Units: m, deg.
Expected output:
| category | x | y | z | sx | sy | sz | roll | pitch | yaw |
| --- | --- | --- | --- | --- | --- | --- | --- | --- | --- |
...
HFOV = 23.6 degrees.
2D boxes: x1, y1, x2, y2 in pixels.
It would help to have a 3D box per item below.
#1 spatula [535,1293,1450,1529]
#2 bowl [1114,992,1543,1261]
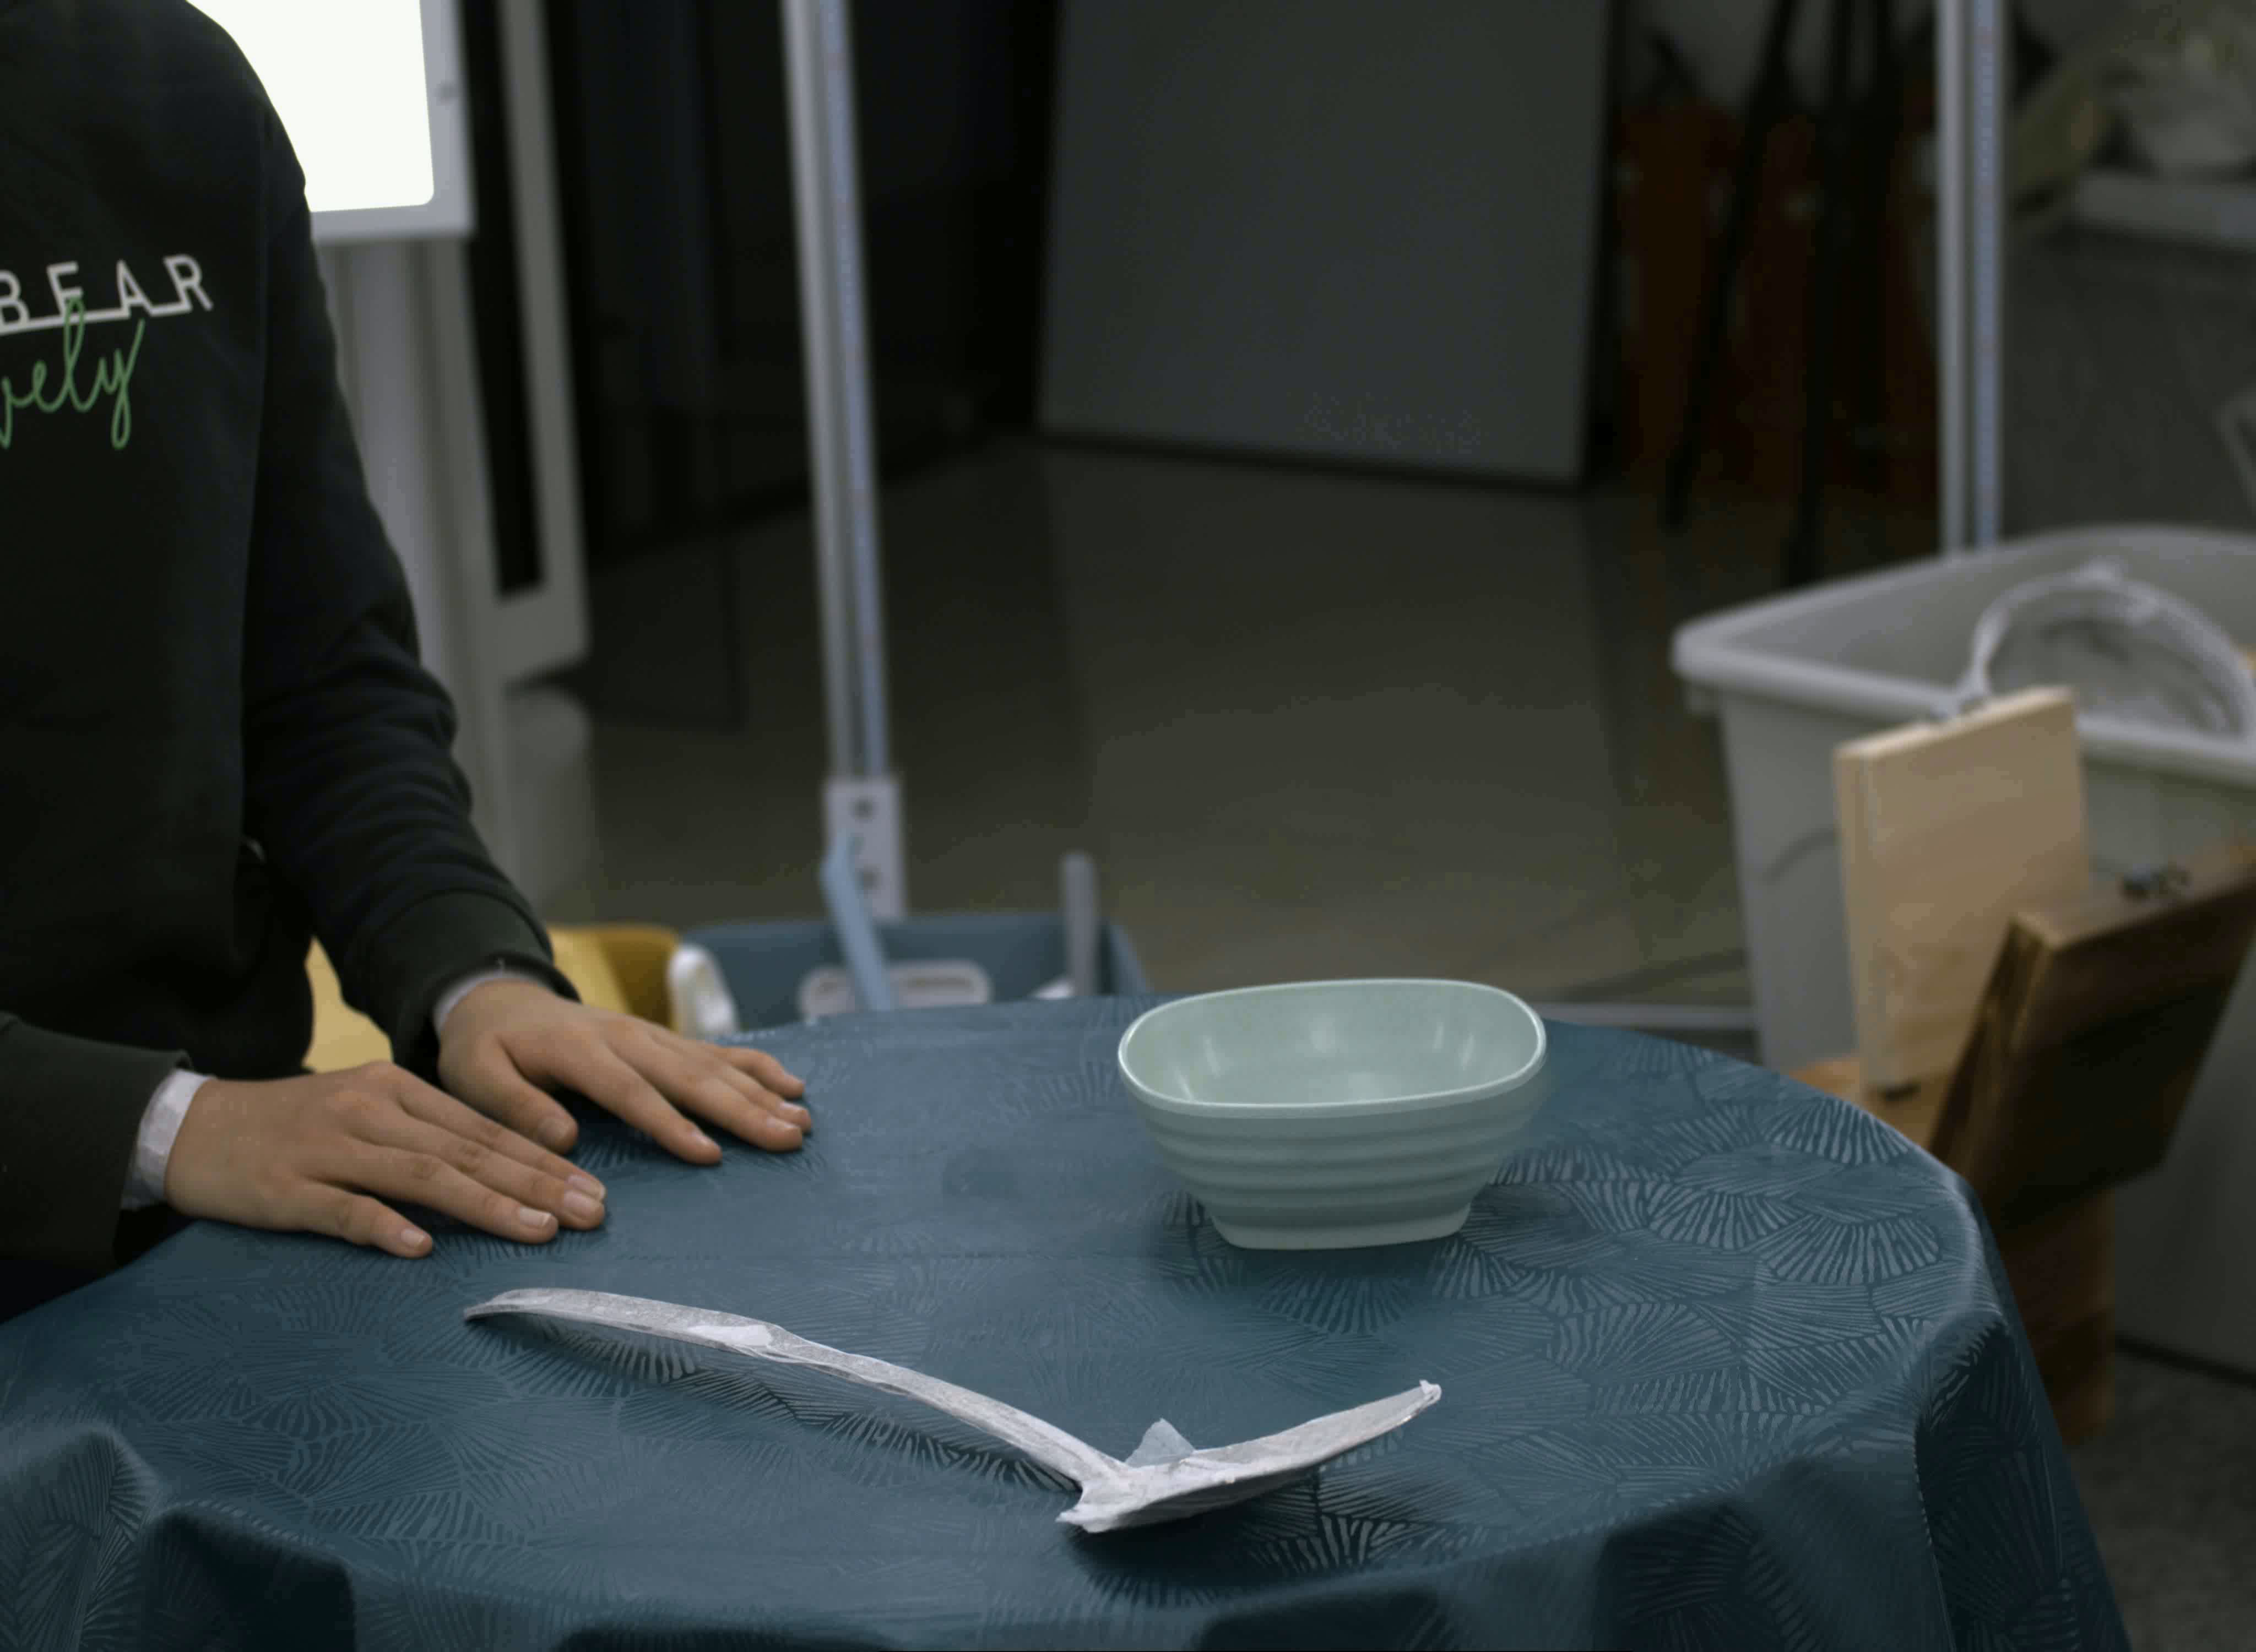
| category | x | y | z | sx | sy | sz | roll | pitch | yaw |
| --- | --- | --- | --- | --- | --- | --- | --- | --- | --- |
| spatula | -0.062 | 0.157 | 1.562 | 0.368 | 0.045 | 0.097 | 10 | 21 | 44 |
| bowl | 0.065 | 0.099 | 1.733 | 0.149 | 0.059 | 0.151 | -2 | 13 | 0 |
